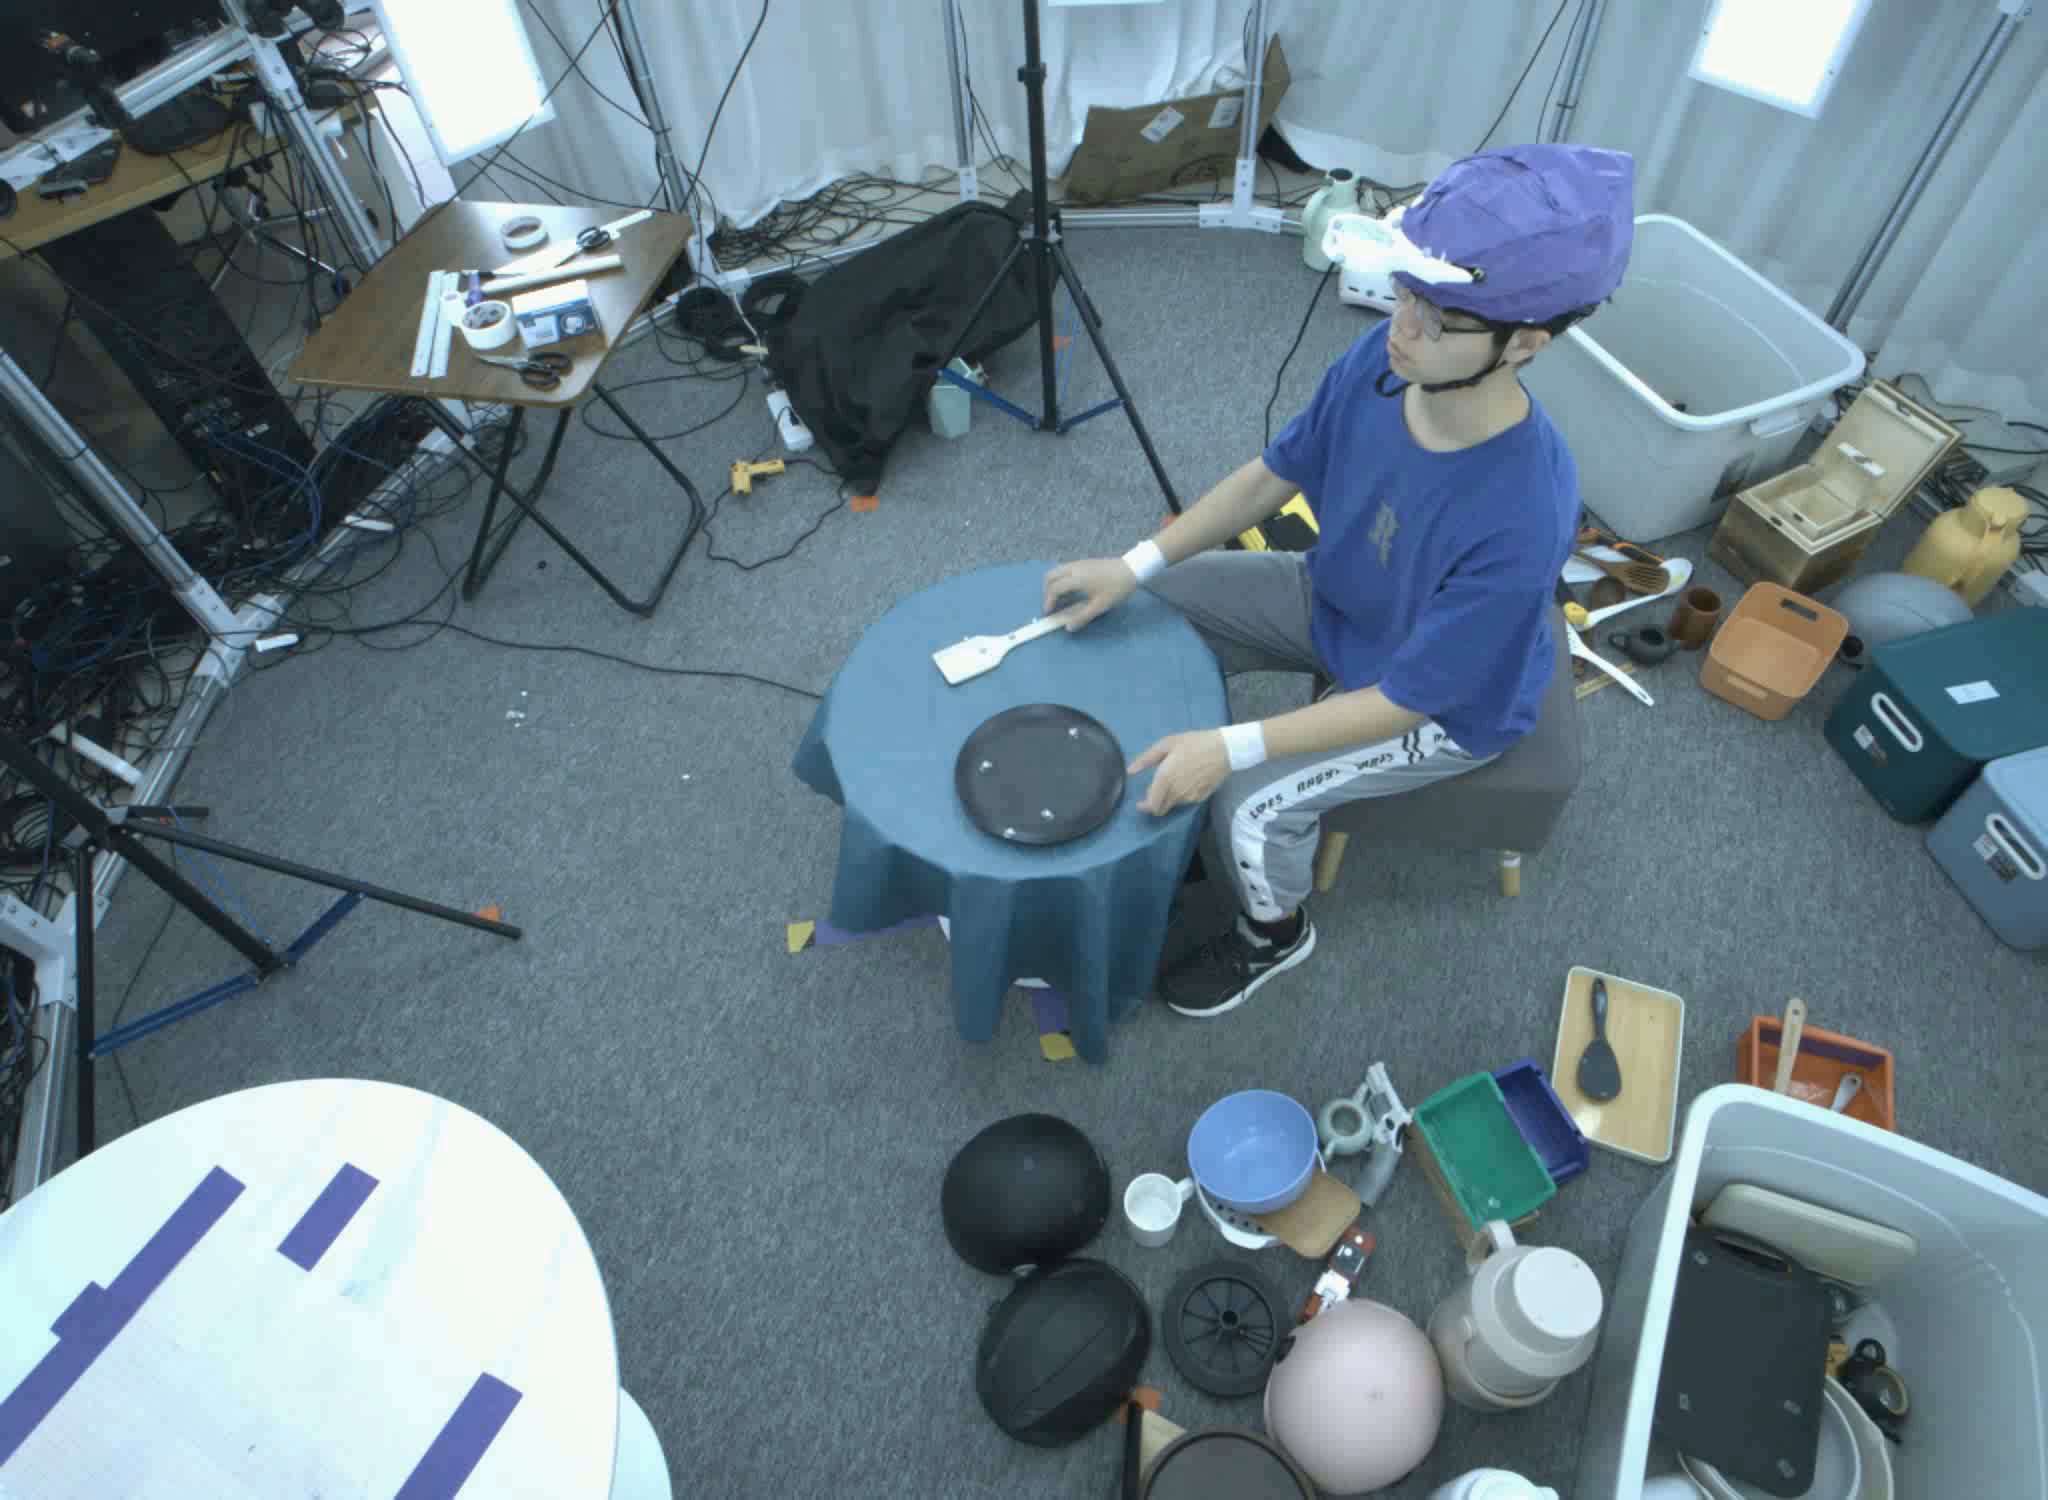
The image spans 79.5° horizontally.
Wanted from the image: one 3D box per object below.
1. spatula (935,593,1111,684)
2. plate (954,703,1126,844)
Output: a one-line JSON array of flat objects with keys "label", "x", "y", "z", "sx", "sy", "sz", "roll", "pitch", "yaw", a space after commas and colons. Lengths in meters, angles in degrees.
[{"label": "spatula", "x": 0.005, "y": -0.181, "z": 1.902, "sx": 0.295, "sy": 0.011, "sz": 0.071, "roll": -25, "pitch": 56, "yaw": -15}, {"label": "plate", "x": 0.023, "y": 0.034, "z": 1.738, "sx": 0.244, "sy": 0.024, "sz": 0.242, "roll": 0, "pitch": 54, "yaw": 2}]
